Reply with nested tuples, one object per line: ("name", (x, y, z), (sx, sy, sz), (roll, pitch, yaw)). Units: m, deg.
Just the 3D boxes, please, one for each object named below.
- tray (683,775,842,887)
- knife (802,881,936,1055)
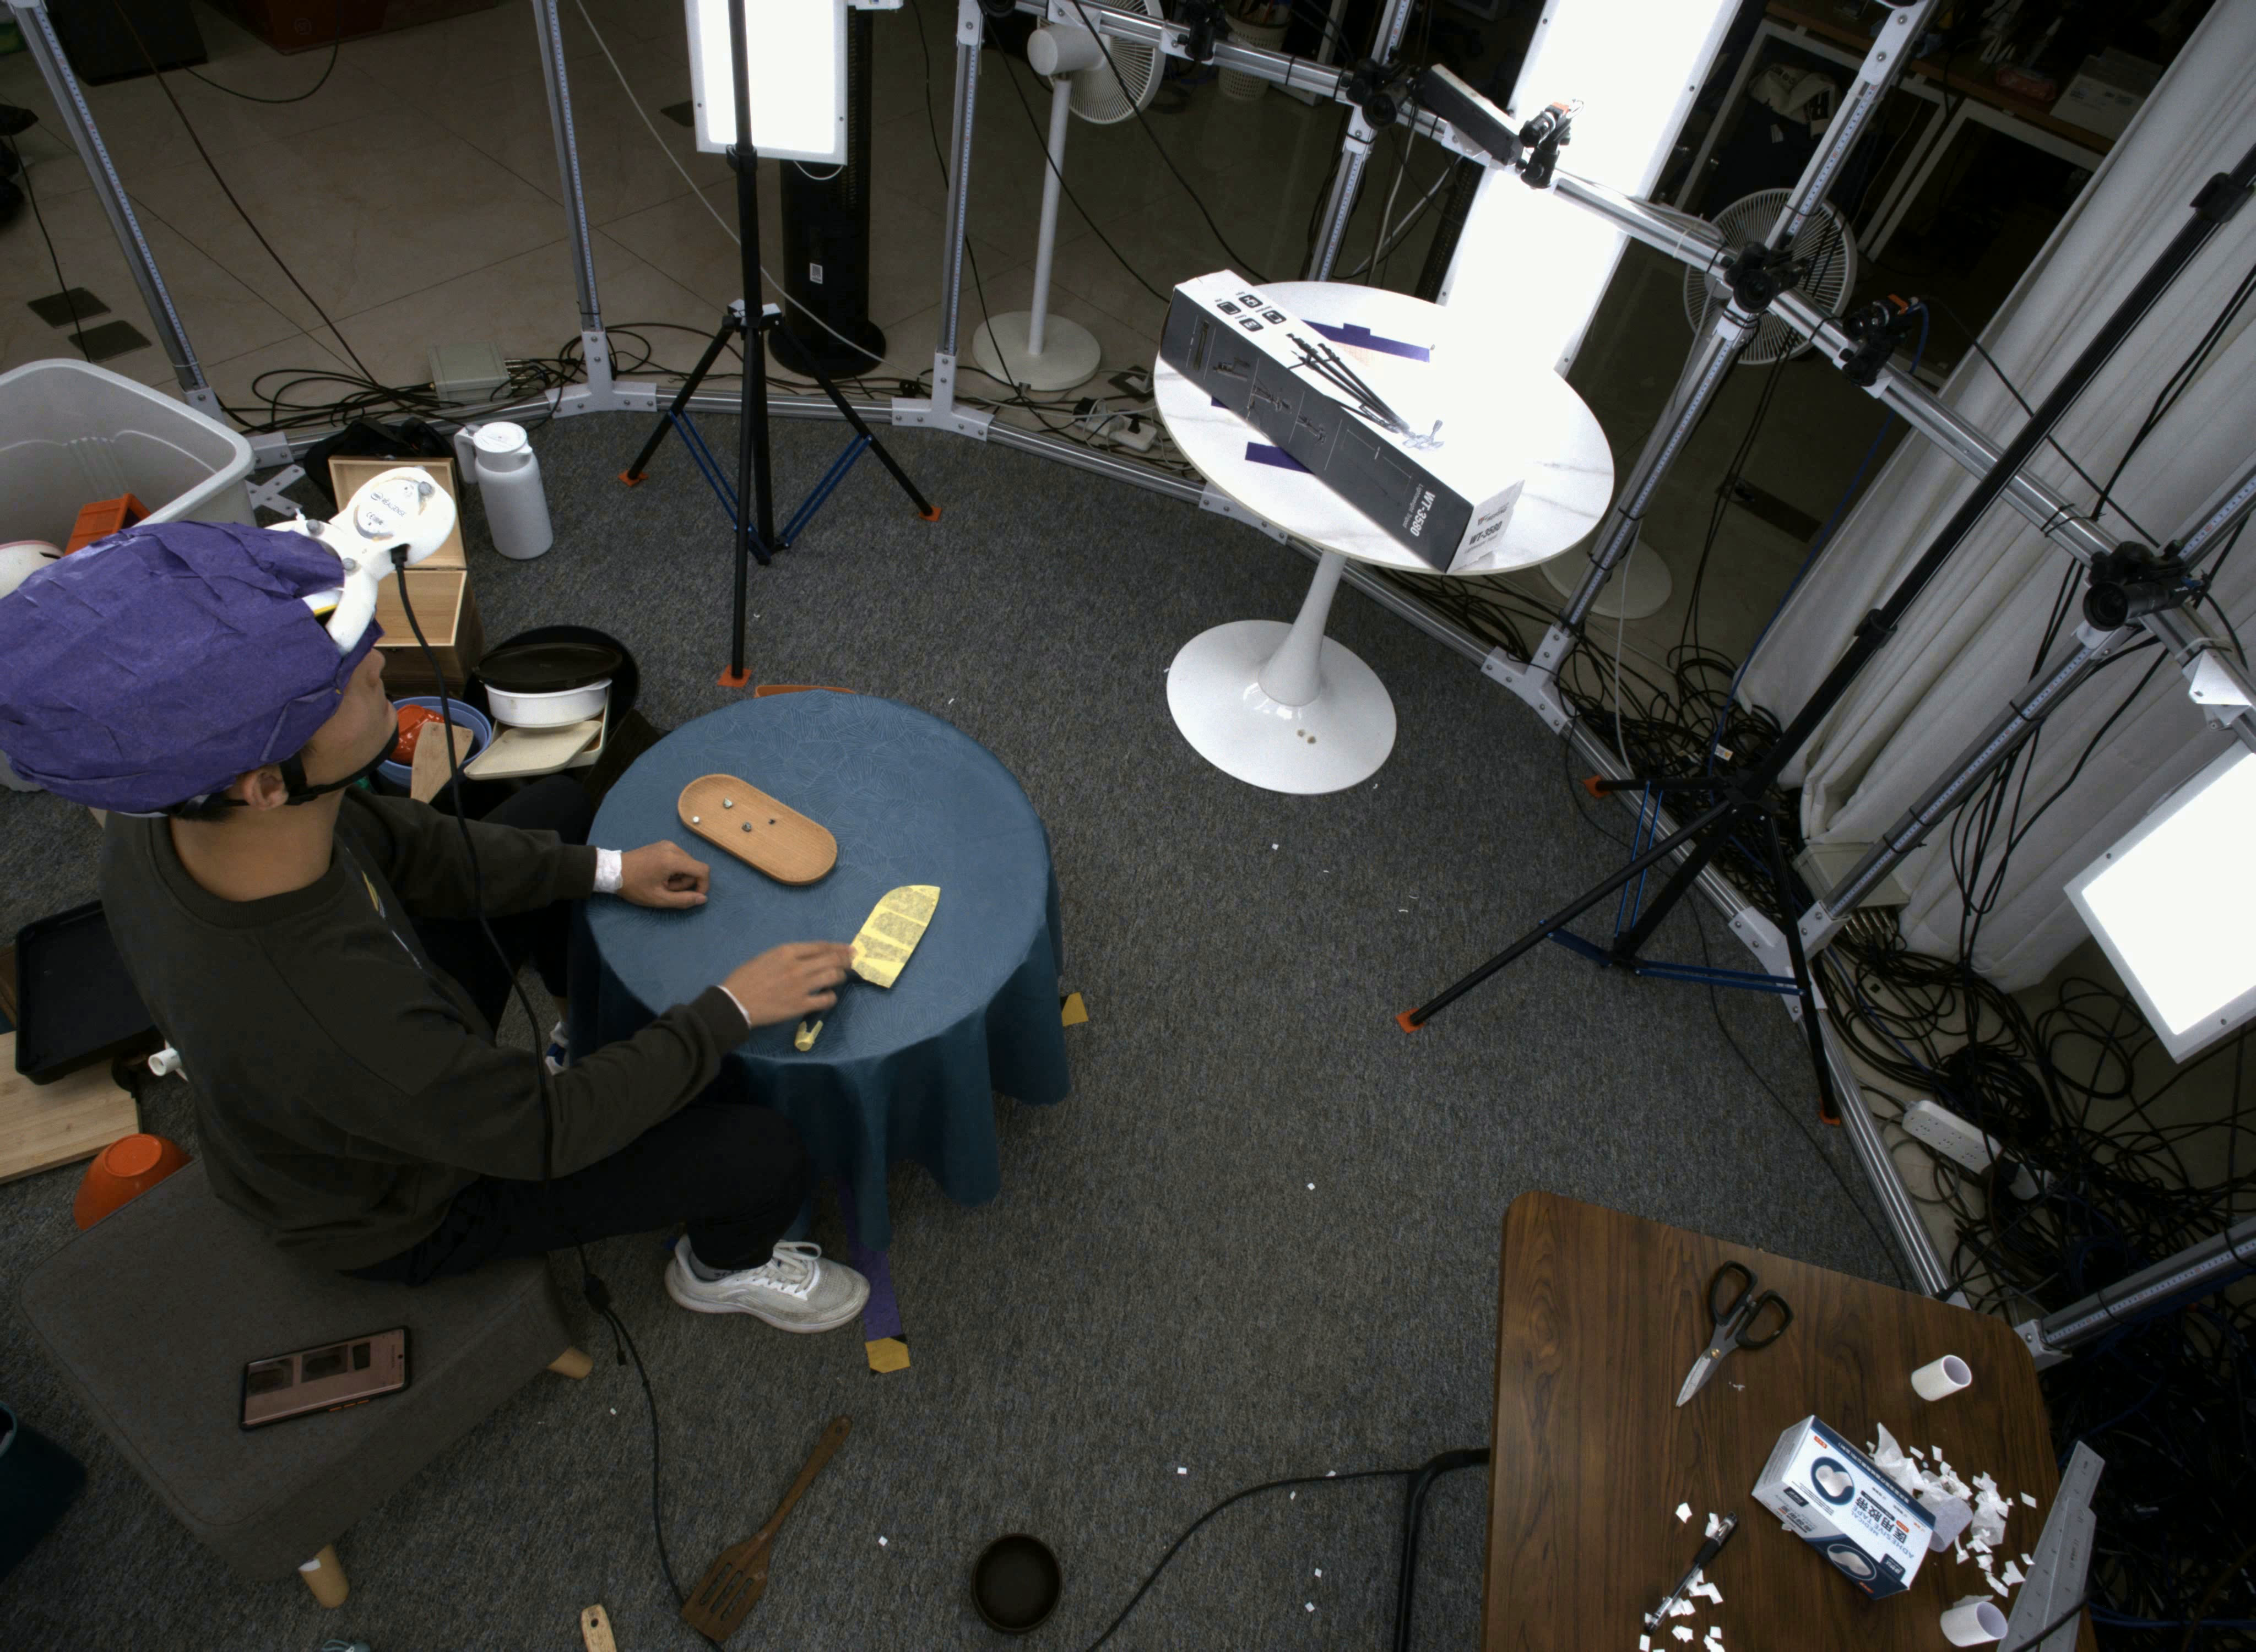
("tray", (-0.483, 0.005, 1.706), (0.228, 0.021, 0.101), (29, 54, 6))
("knife", (-0.320, 0.170, 1.626), (0.079, 0.028, 0.287), (22, 51, 8))
